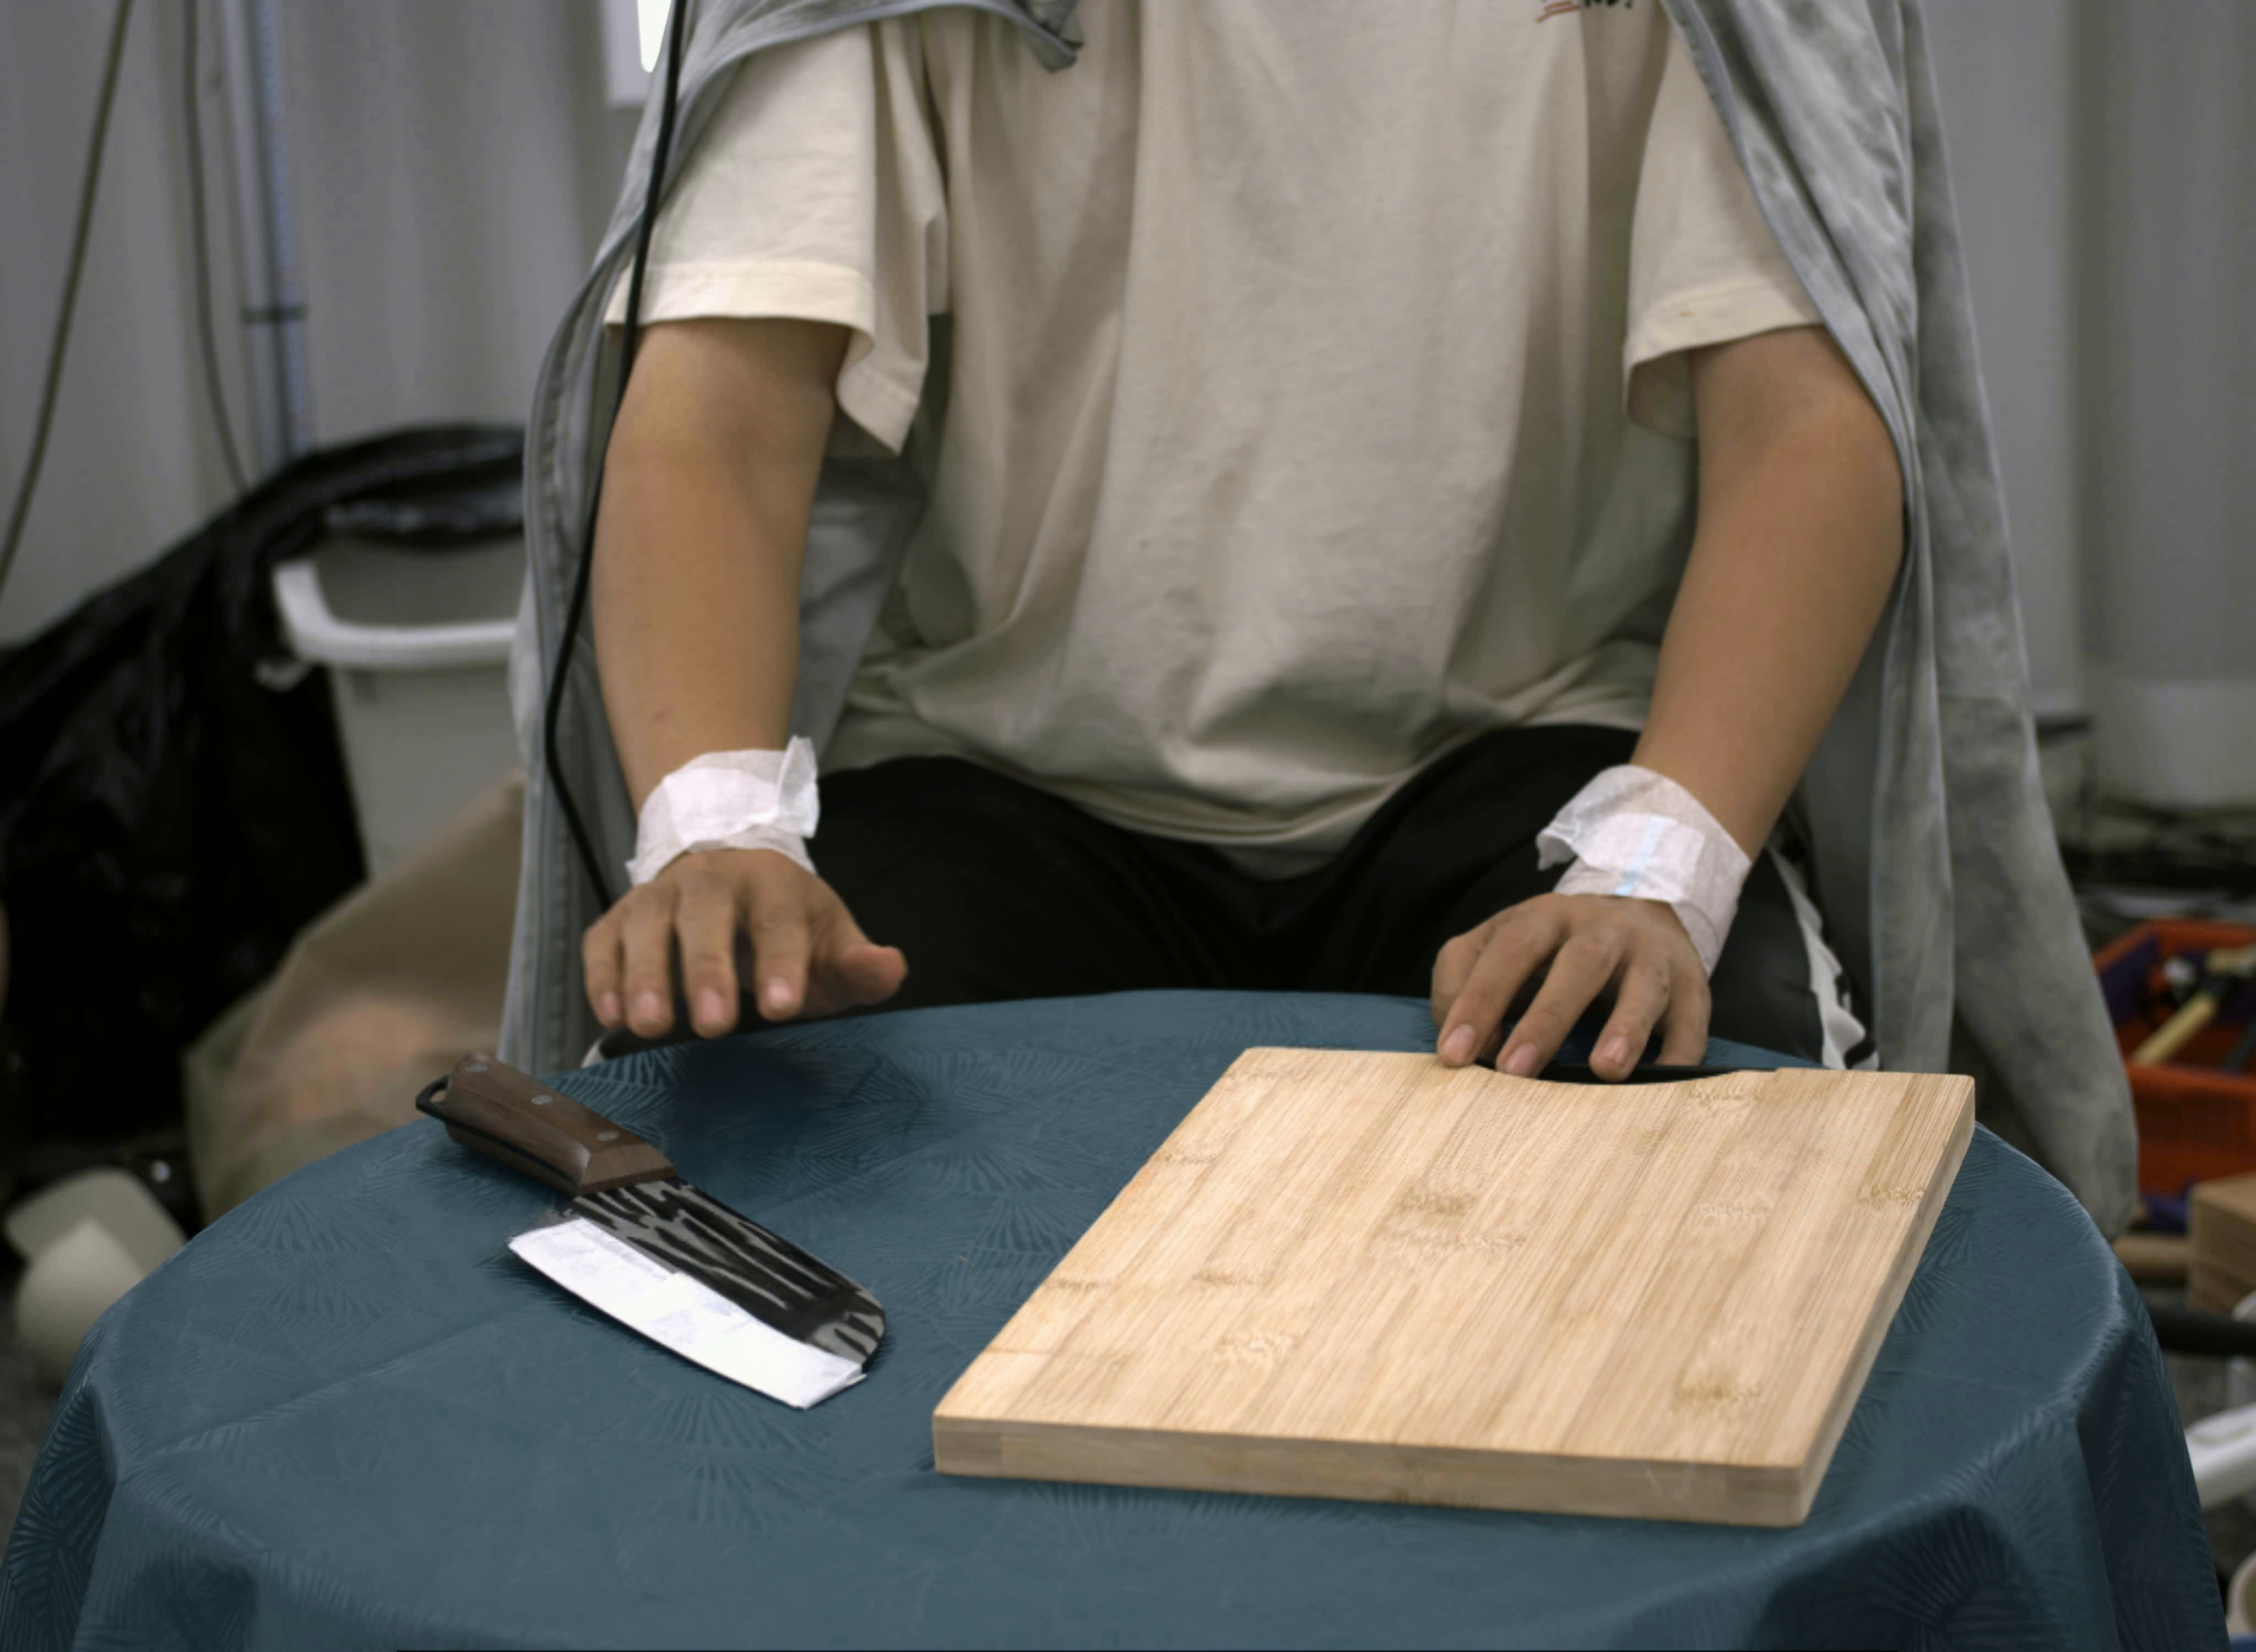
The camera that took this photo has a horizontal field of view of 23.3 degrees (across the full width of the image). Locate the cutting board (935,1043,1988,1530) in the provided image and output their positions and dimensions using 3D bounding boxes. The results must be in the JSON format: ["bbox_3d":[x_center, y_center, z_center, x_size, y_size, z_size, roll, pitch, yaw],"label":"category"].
[{"bbox_3d":[0.110,0.128,1.618,0.250,0.023,0.350,2,15,15],"label":"cutting board"}]

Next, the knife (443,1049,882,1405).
[{"bbox_3d":[-0.155,0.123,1.679,0.068,0.024,0.302,-13,21,-30],"label":"knife"}]
